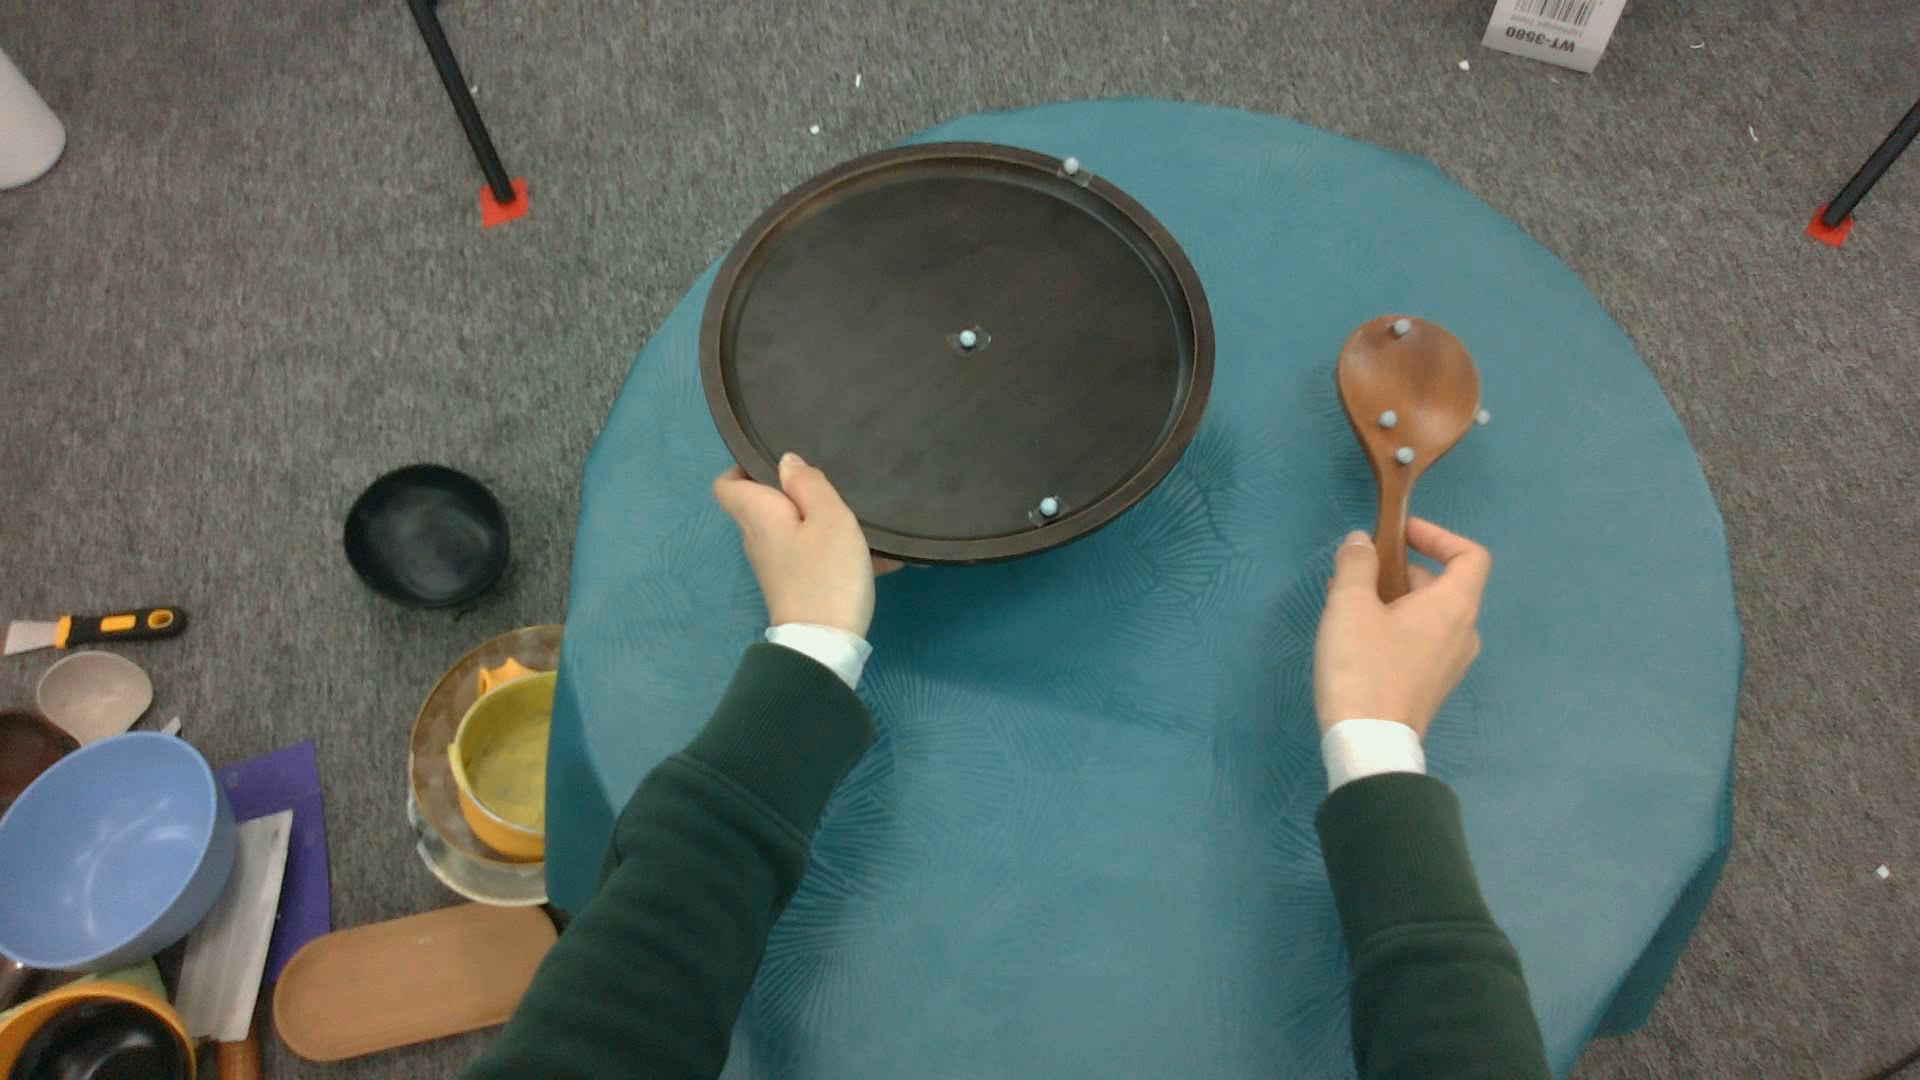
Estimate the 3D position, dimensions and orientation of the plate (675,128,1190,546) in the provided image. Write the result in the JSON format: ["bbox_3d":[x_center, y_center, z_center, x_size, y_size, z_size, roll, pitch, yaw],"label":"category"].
[{"bbox_3d":[-0.014,-0.106,0.685,0.255,0.029,0.256,0,60,0],"label":"plate"}]

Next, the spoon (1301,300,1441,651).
[{"bbox_3d":[0.198,-0.038,0.679,0.075,0.017,0.217,15,55,0],"label":"spoon"}]
